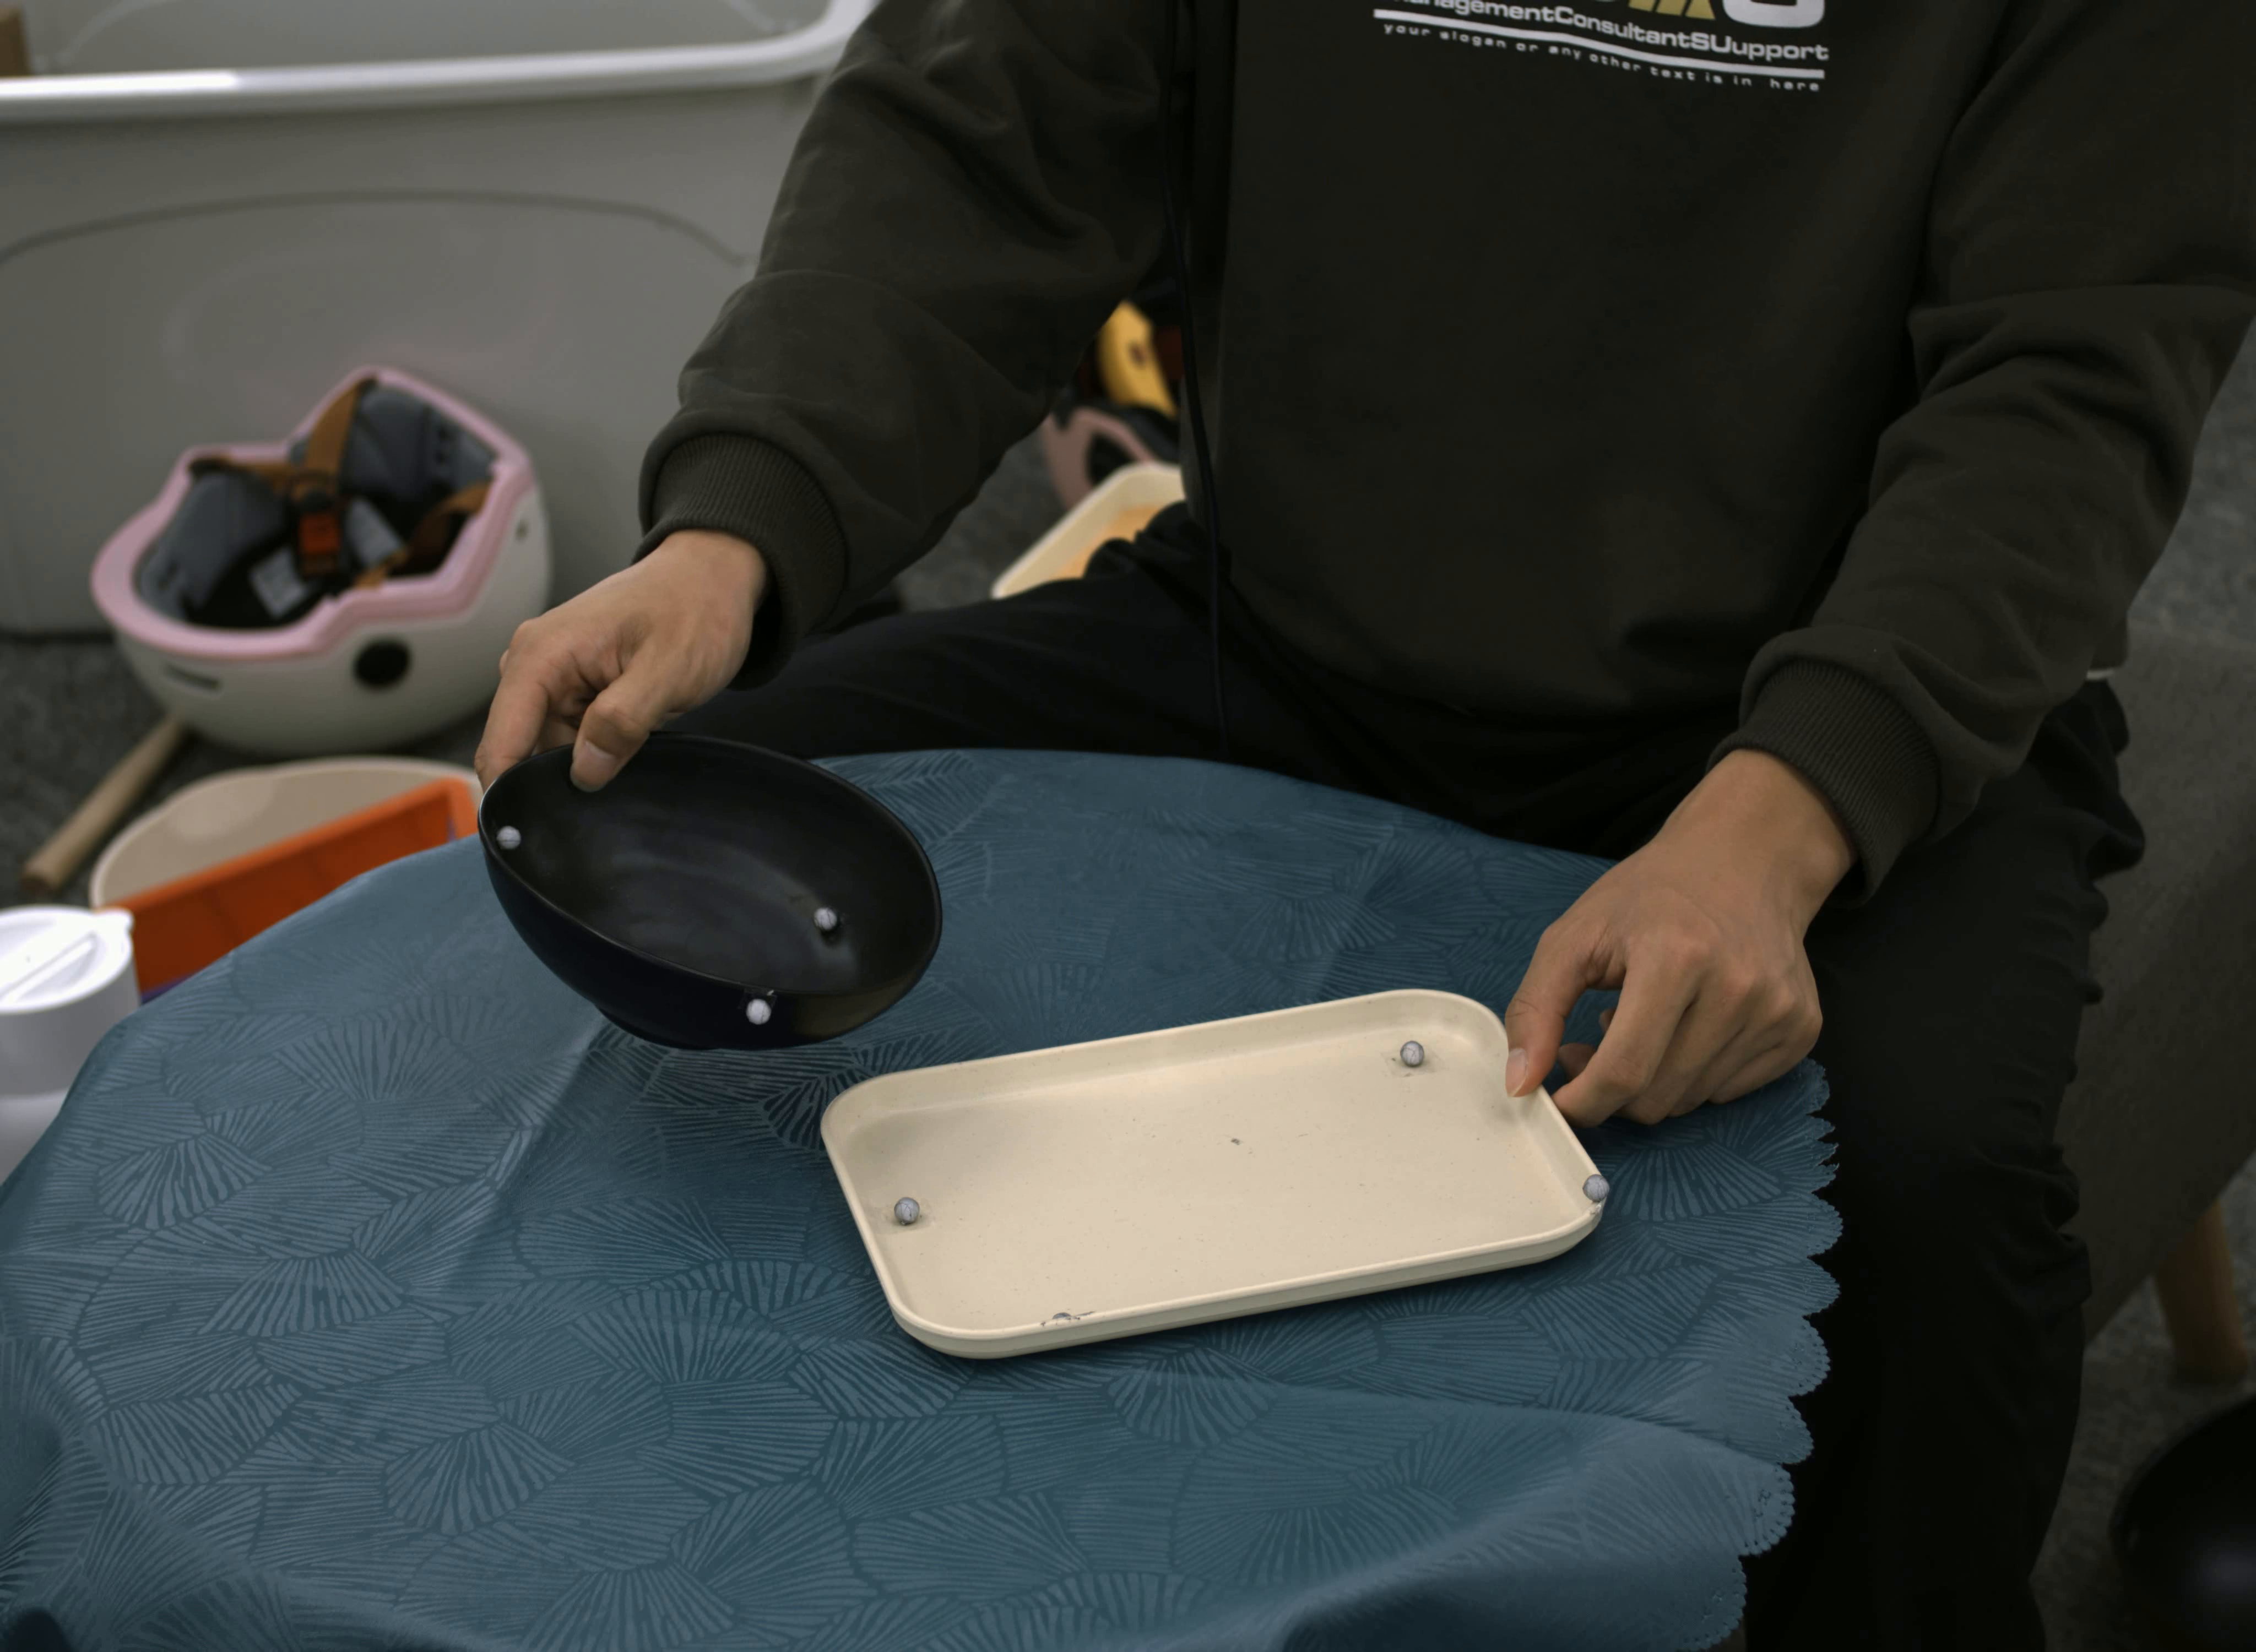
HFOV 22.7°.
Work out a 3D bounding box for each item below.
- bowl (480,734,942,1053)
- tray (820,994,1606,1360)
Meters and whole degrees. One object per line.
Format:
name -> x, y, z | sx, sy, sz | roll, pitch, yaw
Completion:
bowl -> -0.147, 0.034, 1.913 | 0.170, 0.066, 0.139 | 25, 34, 19
tray -> 0.026, 0.116, 1.856 | 0.239, 0.017, 0.173 | -9, 27, -12
